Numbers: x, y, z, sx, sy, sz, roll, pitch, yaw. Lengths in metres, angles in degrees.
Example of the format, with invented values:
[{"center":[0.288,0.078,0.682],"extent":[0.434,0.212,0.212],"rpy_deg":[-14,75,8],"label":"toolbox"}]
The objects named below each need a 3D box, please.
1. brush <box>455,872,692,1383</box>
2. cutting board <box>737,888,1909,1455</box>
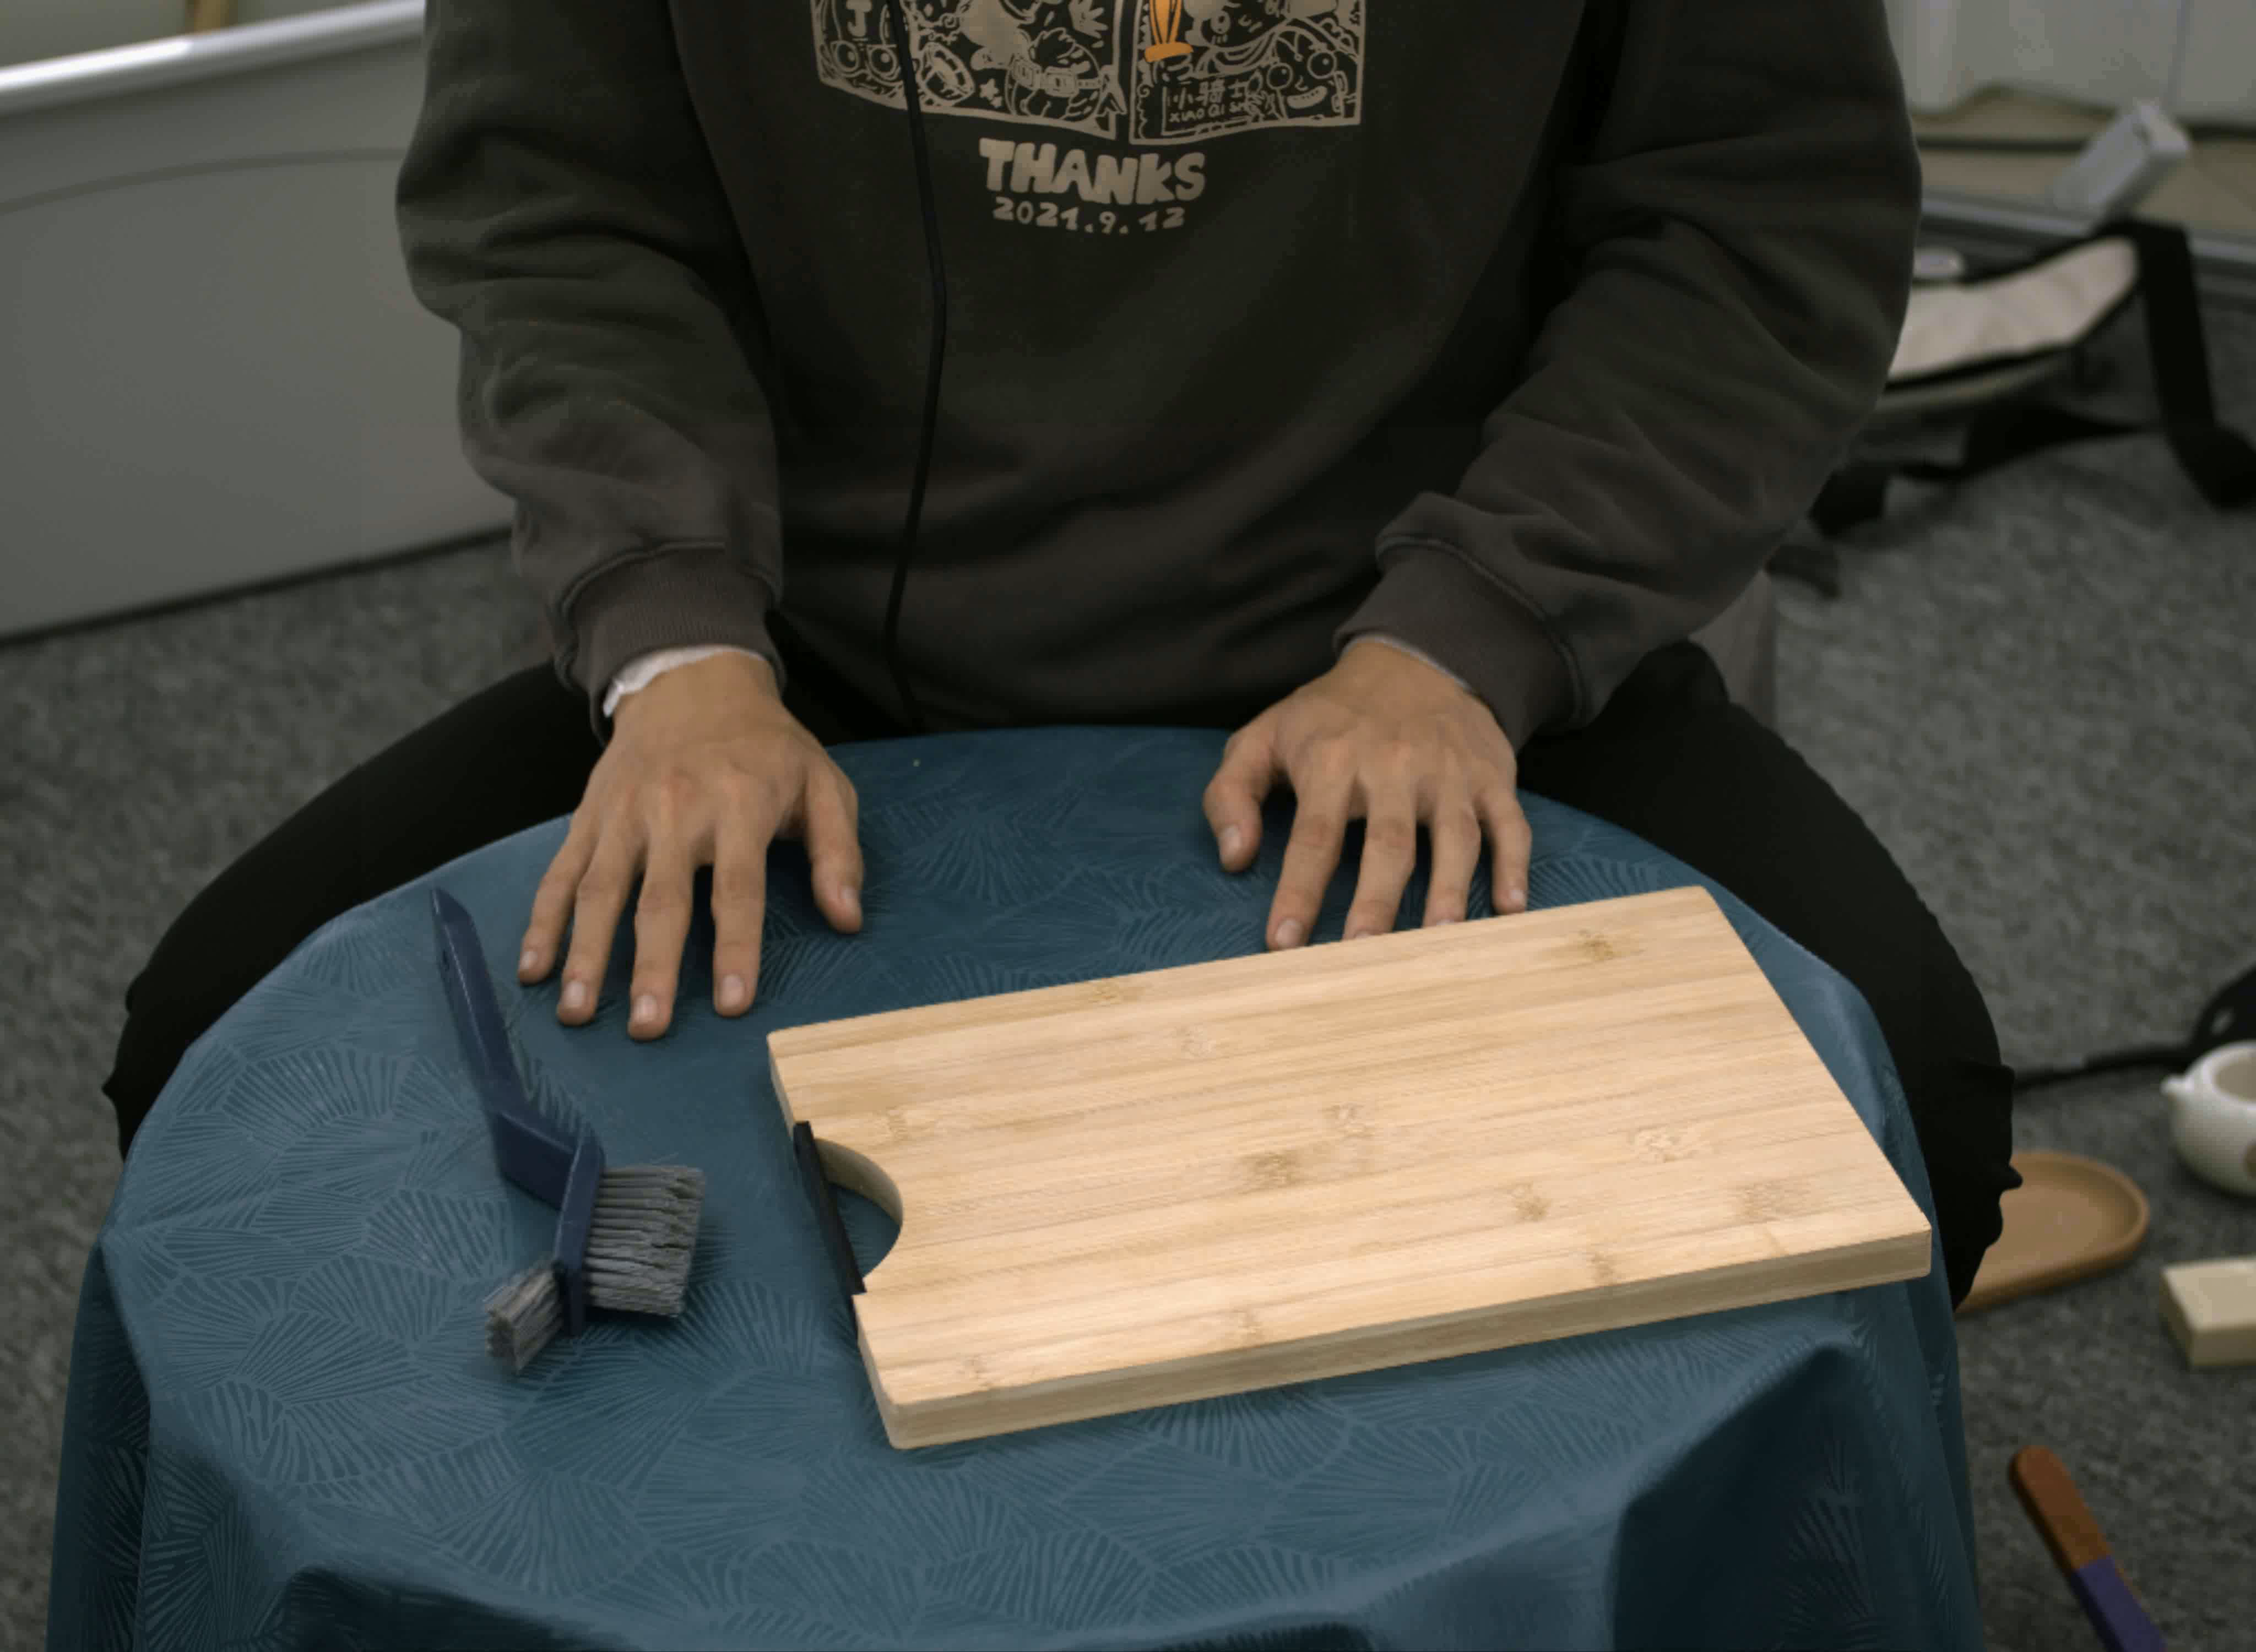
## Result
[{"center":[-0.215,0.097,1.896],"extent":[0.096,0.033,0.275],"rpy_deg":[-13,30,-18],"label":"brush"},{"center":[0.060,0.109,1.861],"extent":[0.348,0.023,0.253],"rpy_deg":[-9,28,-11],"label":"cutting board"}]
